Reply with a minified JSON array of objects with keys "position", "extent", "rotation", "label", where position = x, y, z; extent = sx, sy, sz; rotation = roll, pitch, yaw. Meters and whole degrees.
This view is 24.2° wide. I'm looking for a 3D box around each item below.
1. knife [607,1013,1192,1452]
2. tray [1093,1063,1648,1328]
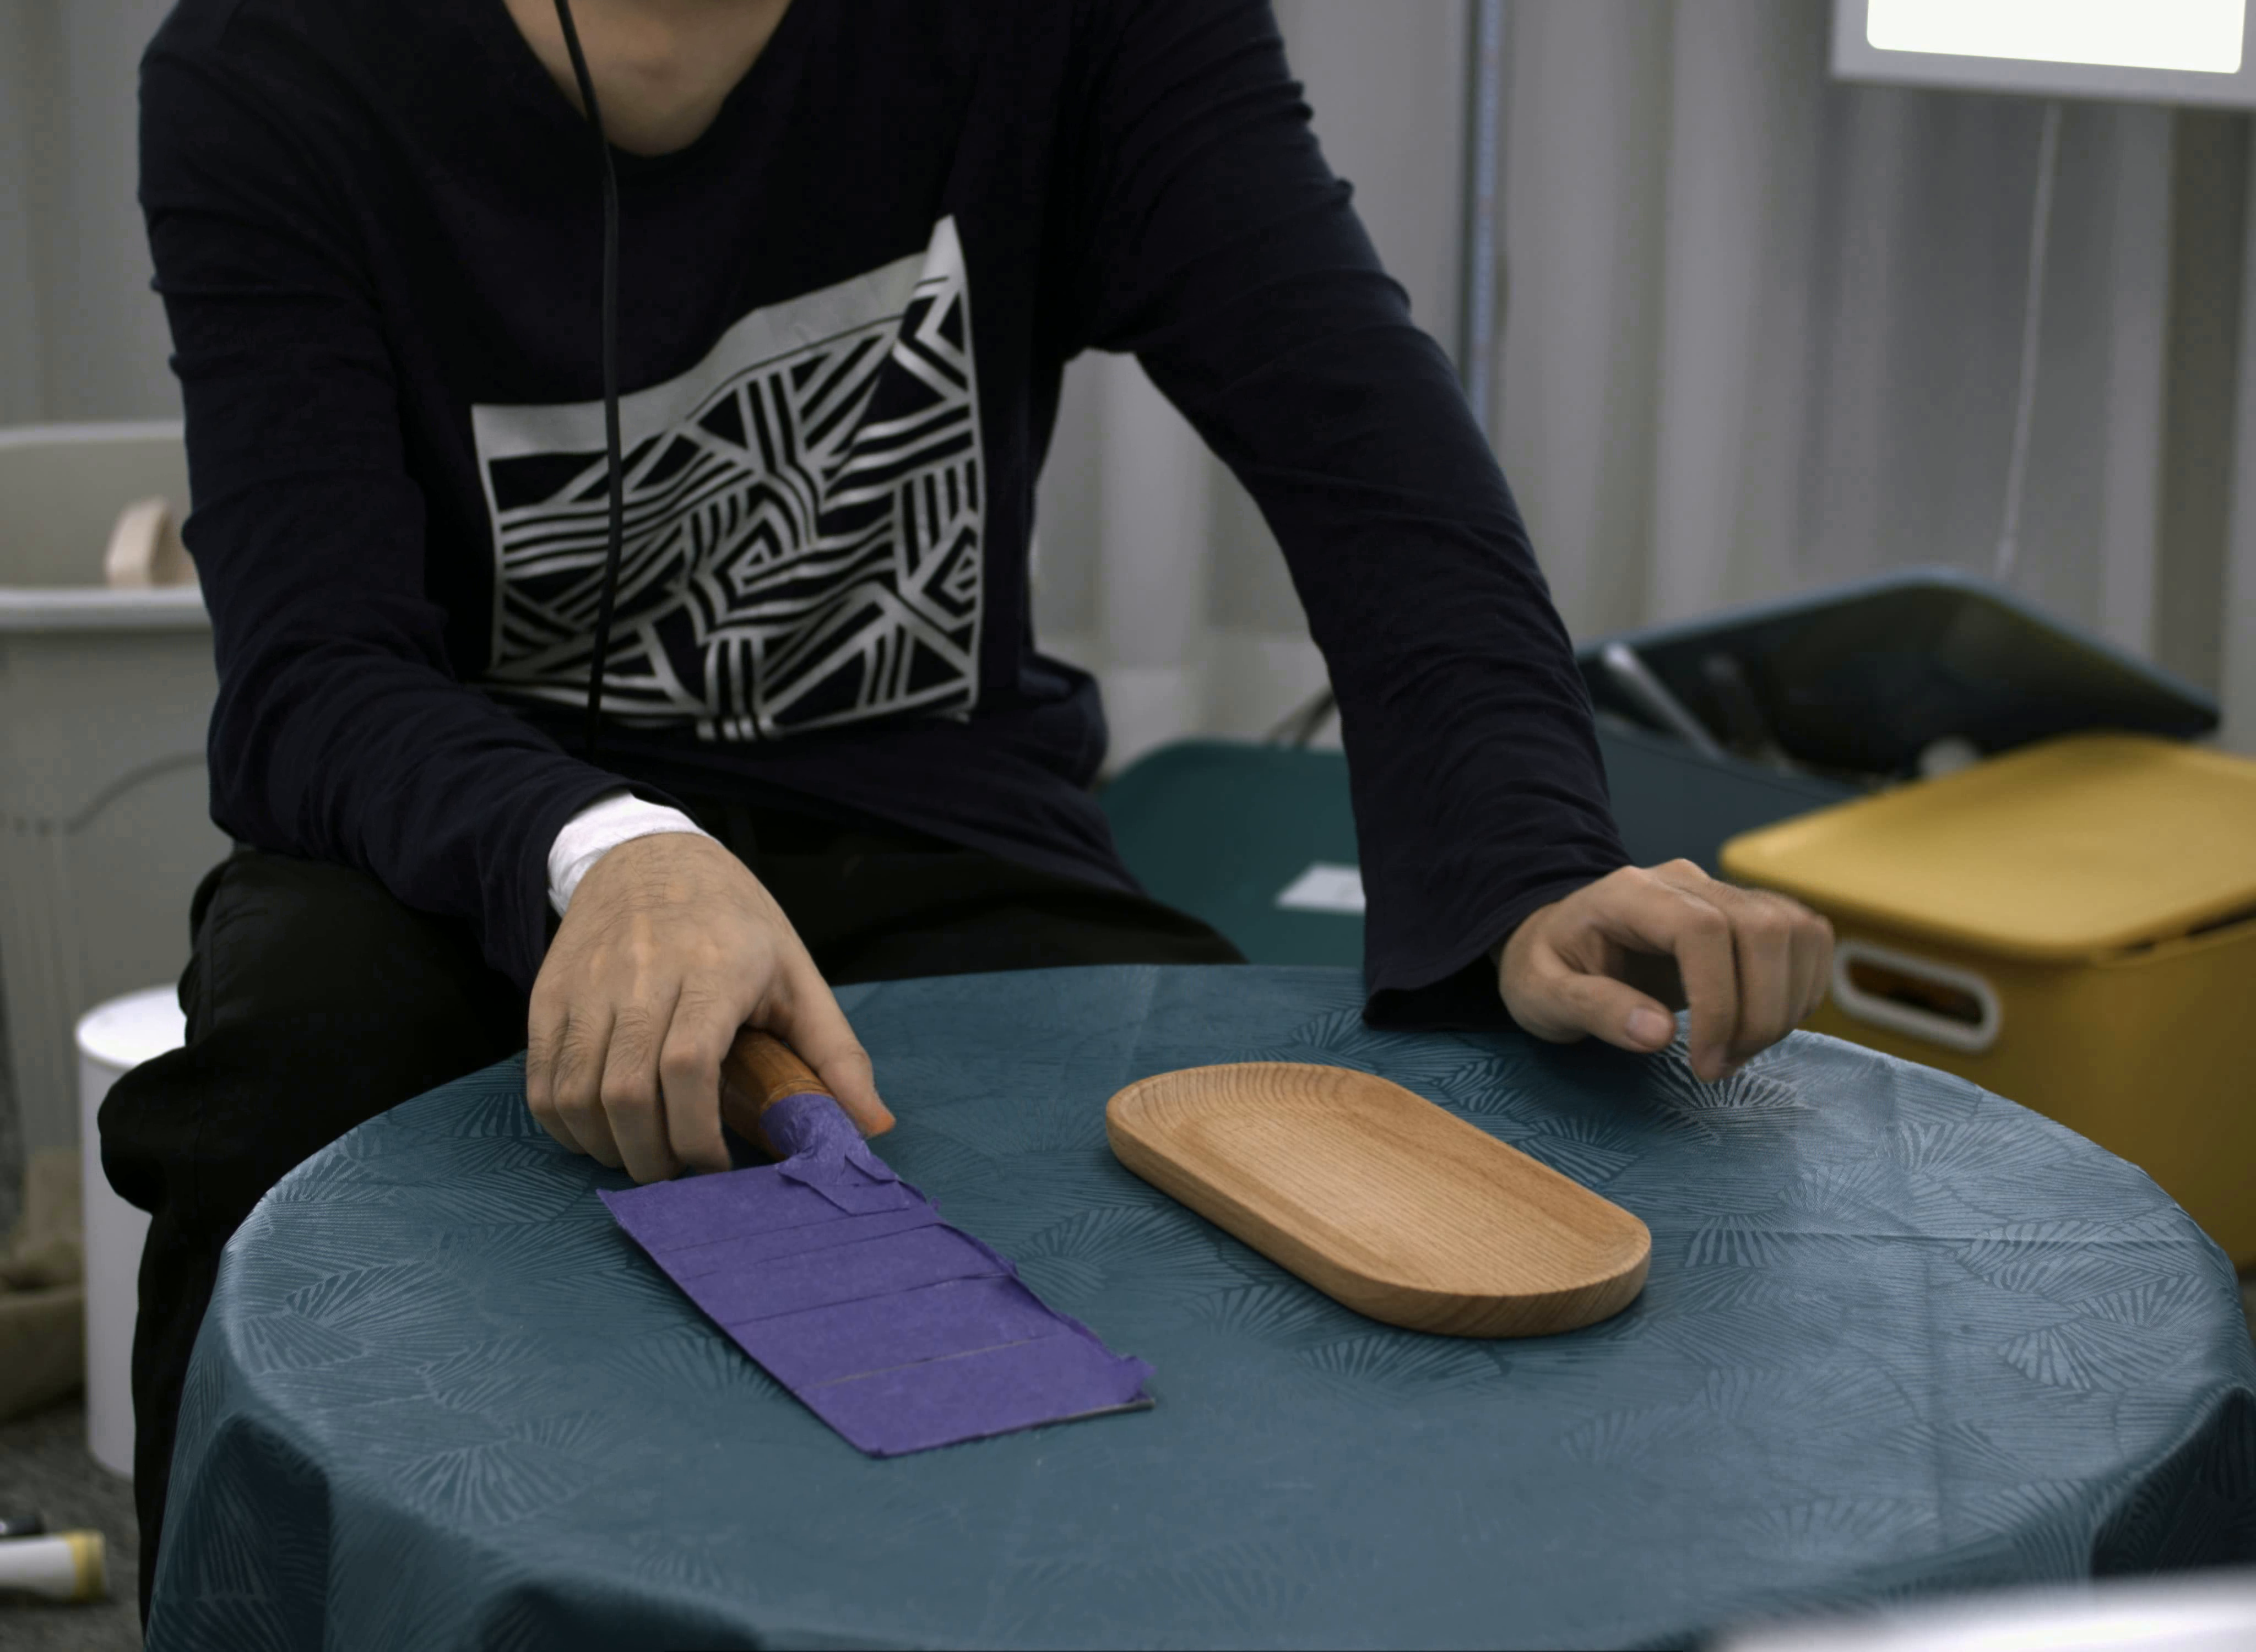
[{"position":[-0.096,0.116,1.558],"extent":[0.104,0.032,0.311],"rotation":[-7,18,-26],"label":"knife"},{"position":[0.071,0.110,1.605],"extent":[0.102,0.020,0.228],"rotation":[-7,15,-28],"label":"tray"}]
